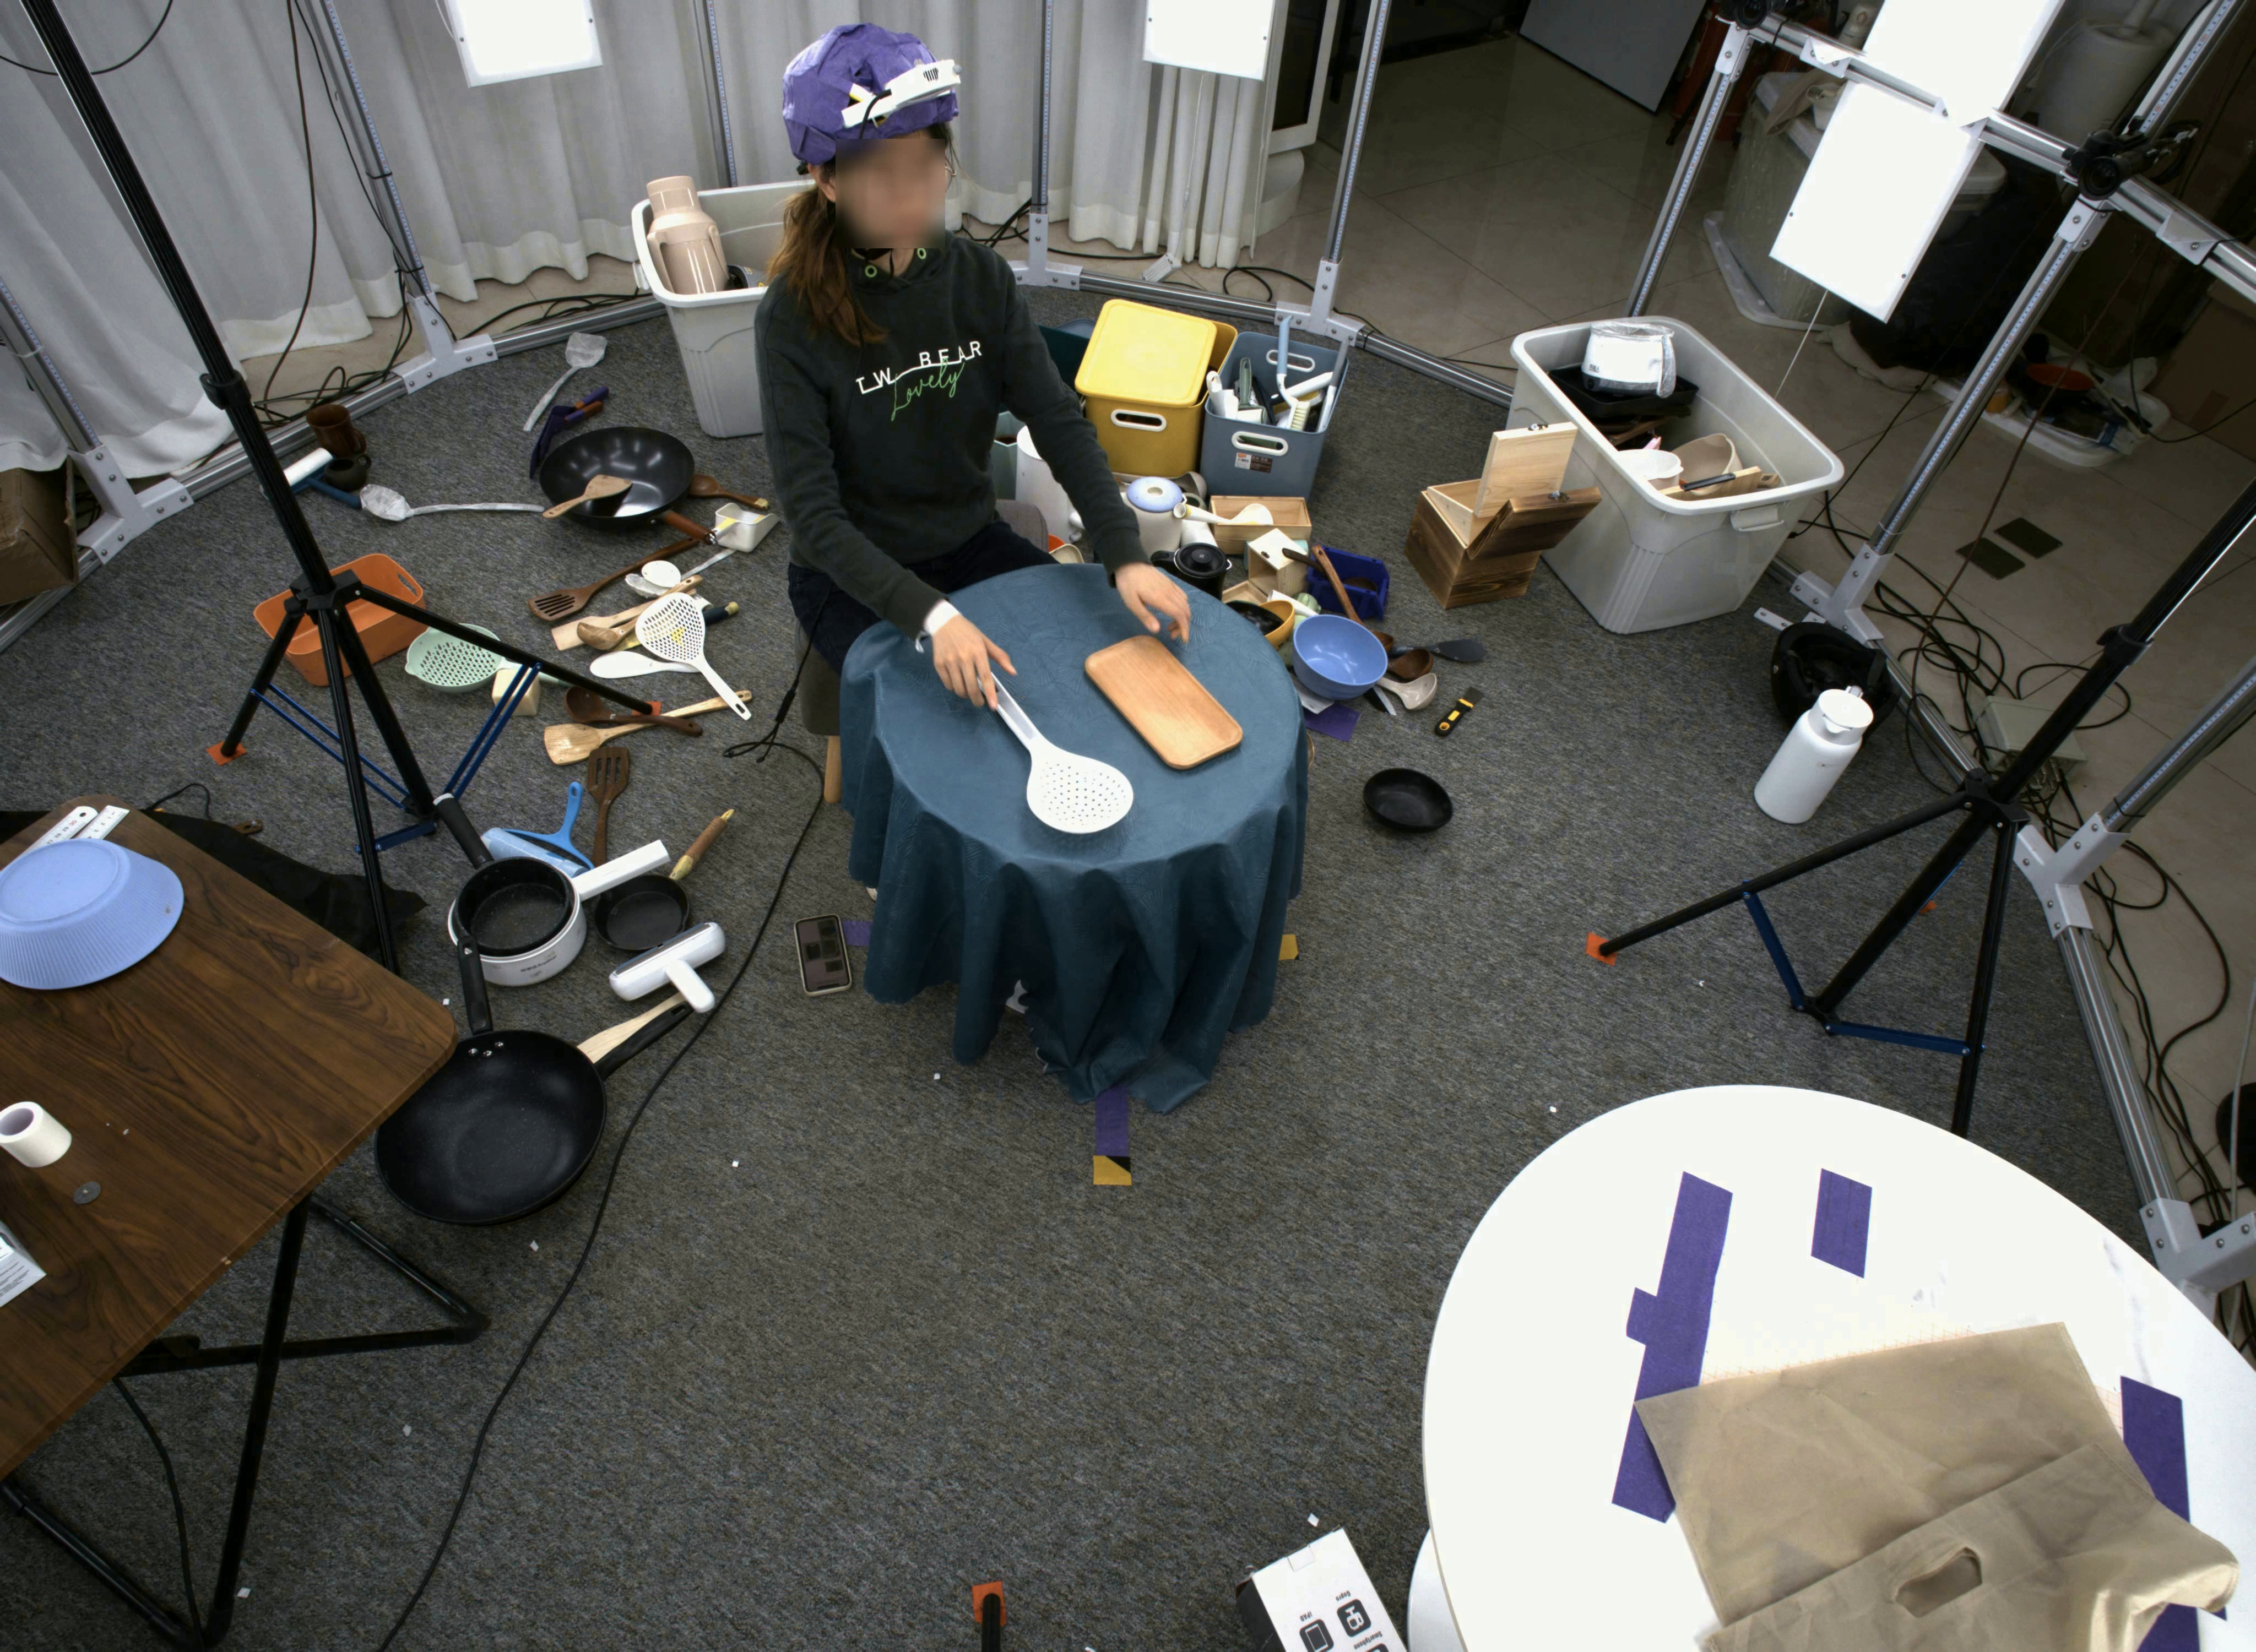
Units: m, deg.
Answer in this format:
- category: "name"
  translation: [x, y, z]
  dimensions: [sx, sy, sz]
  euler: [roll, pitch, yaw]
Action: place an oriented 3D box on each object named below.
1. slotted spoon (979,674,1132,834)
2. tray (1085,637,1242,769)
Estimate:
- category: "slotted spoon"
  translation: [-0.117, -0.102, 1.736]
  dimensions: [0.136, 0.044, 0.357]
  euler: [-19, 52, -23]
- category: "tray"
  translation: [0.048, -0.178, 1.832]
  dimensions: [0.131, 0.022, 0.256]
  euler: [-23, 53, -24]
